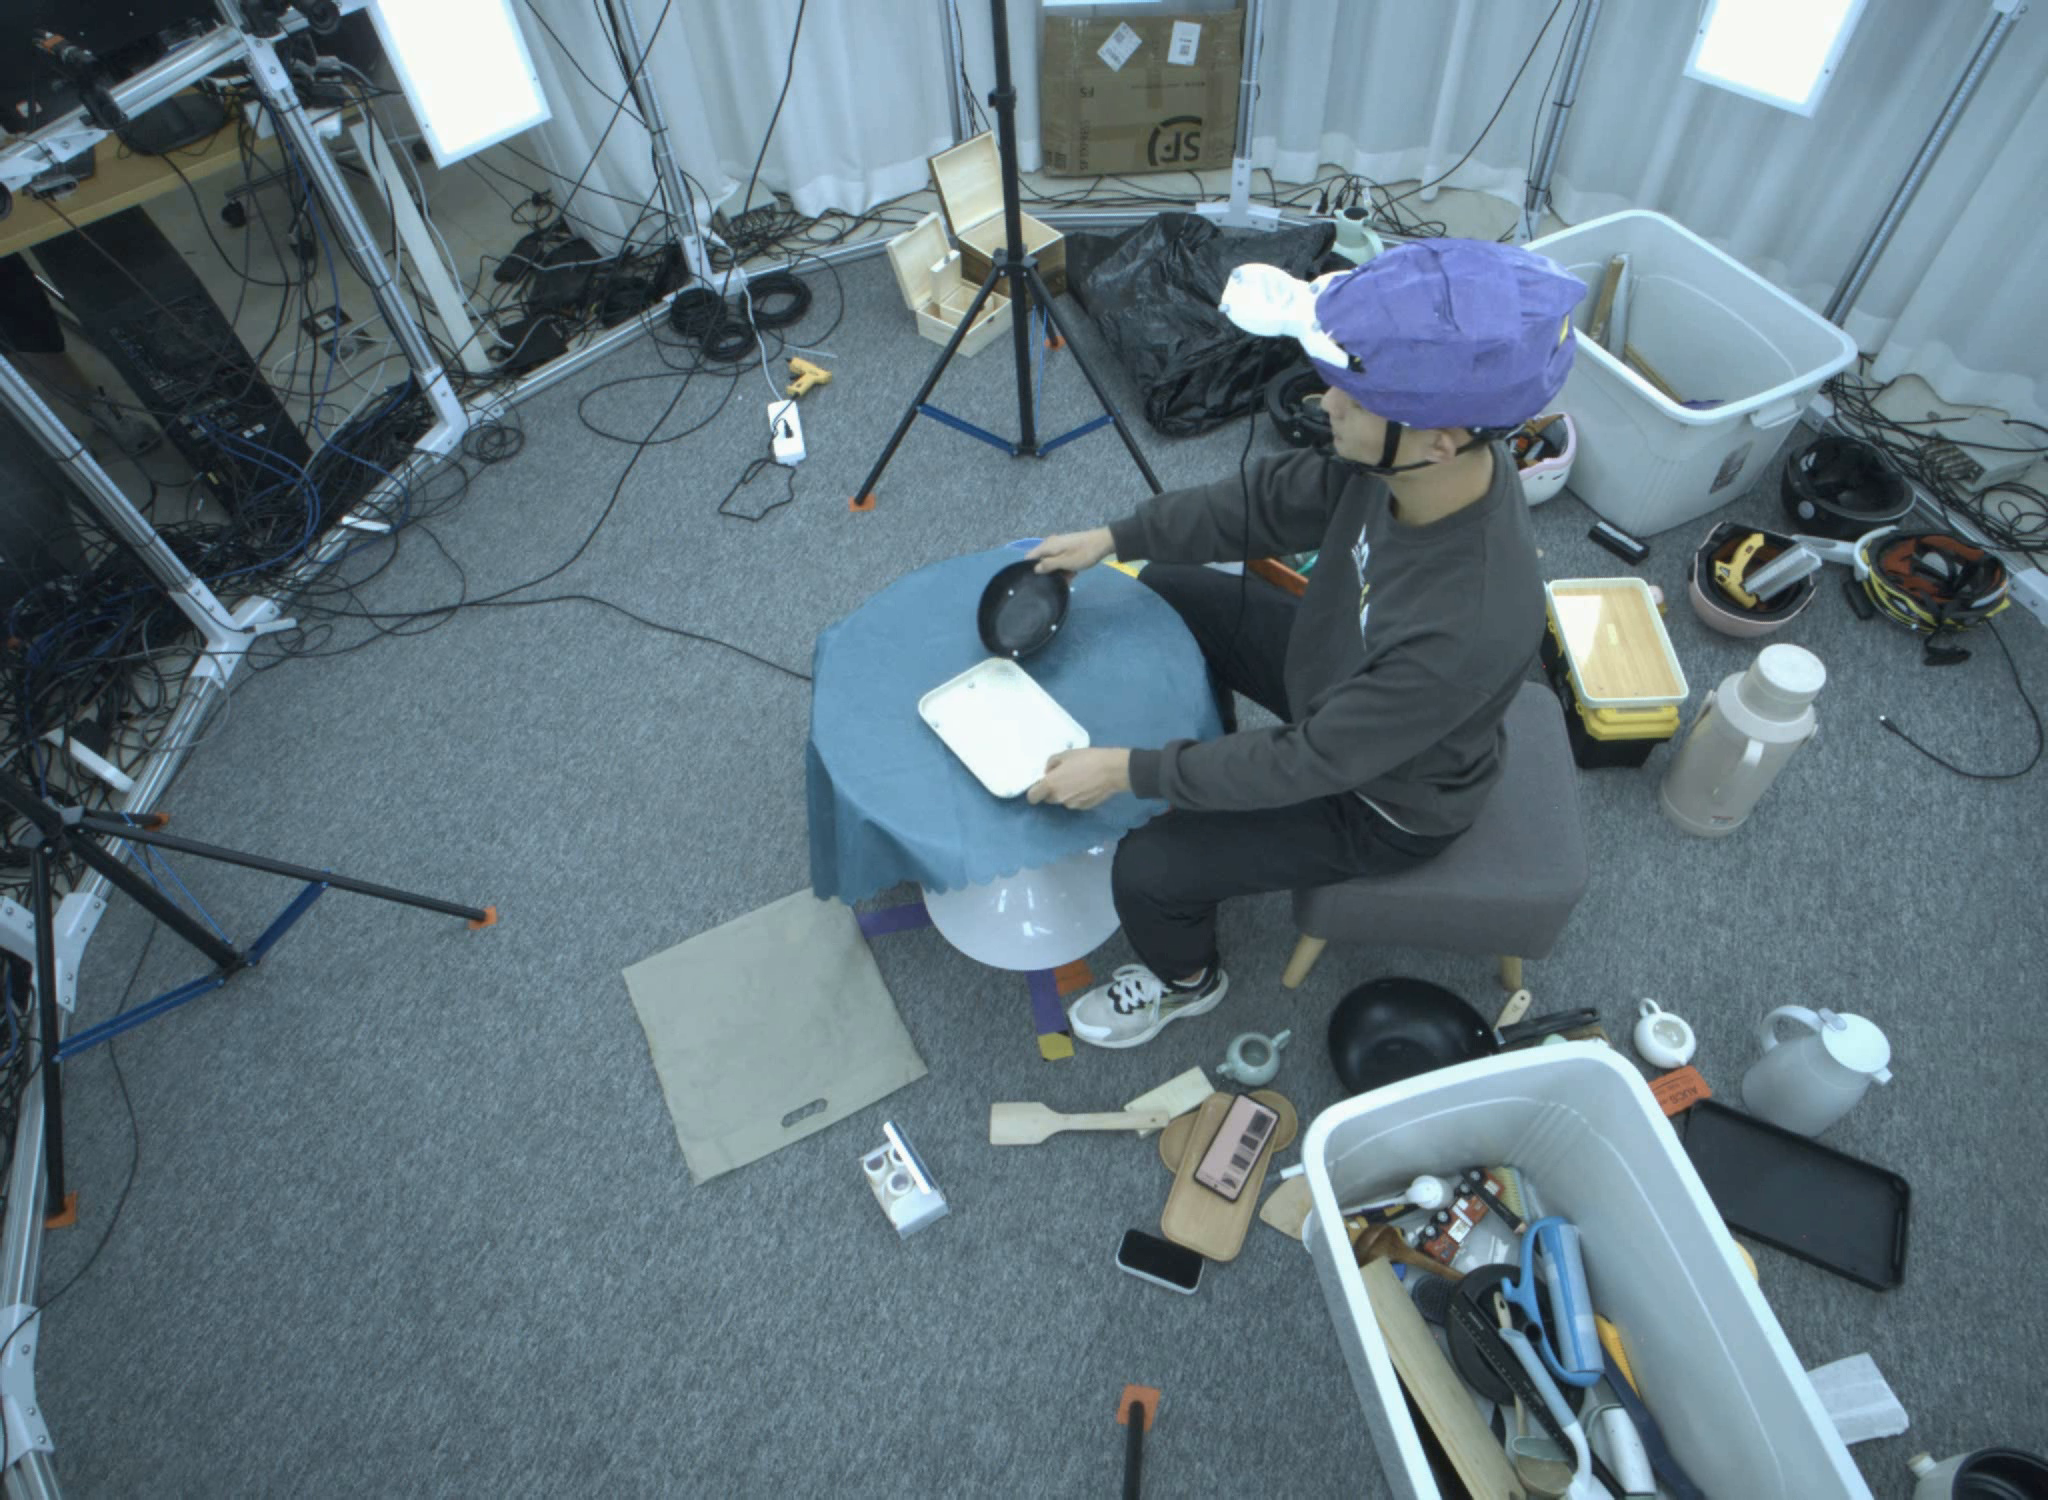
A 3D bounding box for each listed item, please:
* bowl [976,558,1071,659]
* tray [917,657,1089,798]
[{"bbox_3d":[0.003,-0.208,1.879,0.135,0.067,0.170,24,78,16],"label":"bowl"},{"bbox_3d":[-0.032,-0.035,1.793,0.173,0.017,0.235,-31,56,-21],"label":"tray"}]
